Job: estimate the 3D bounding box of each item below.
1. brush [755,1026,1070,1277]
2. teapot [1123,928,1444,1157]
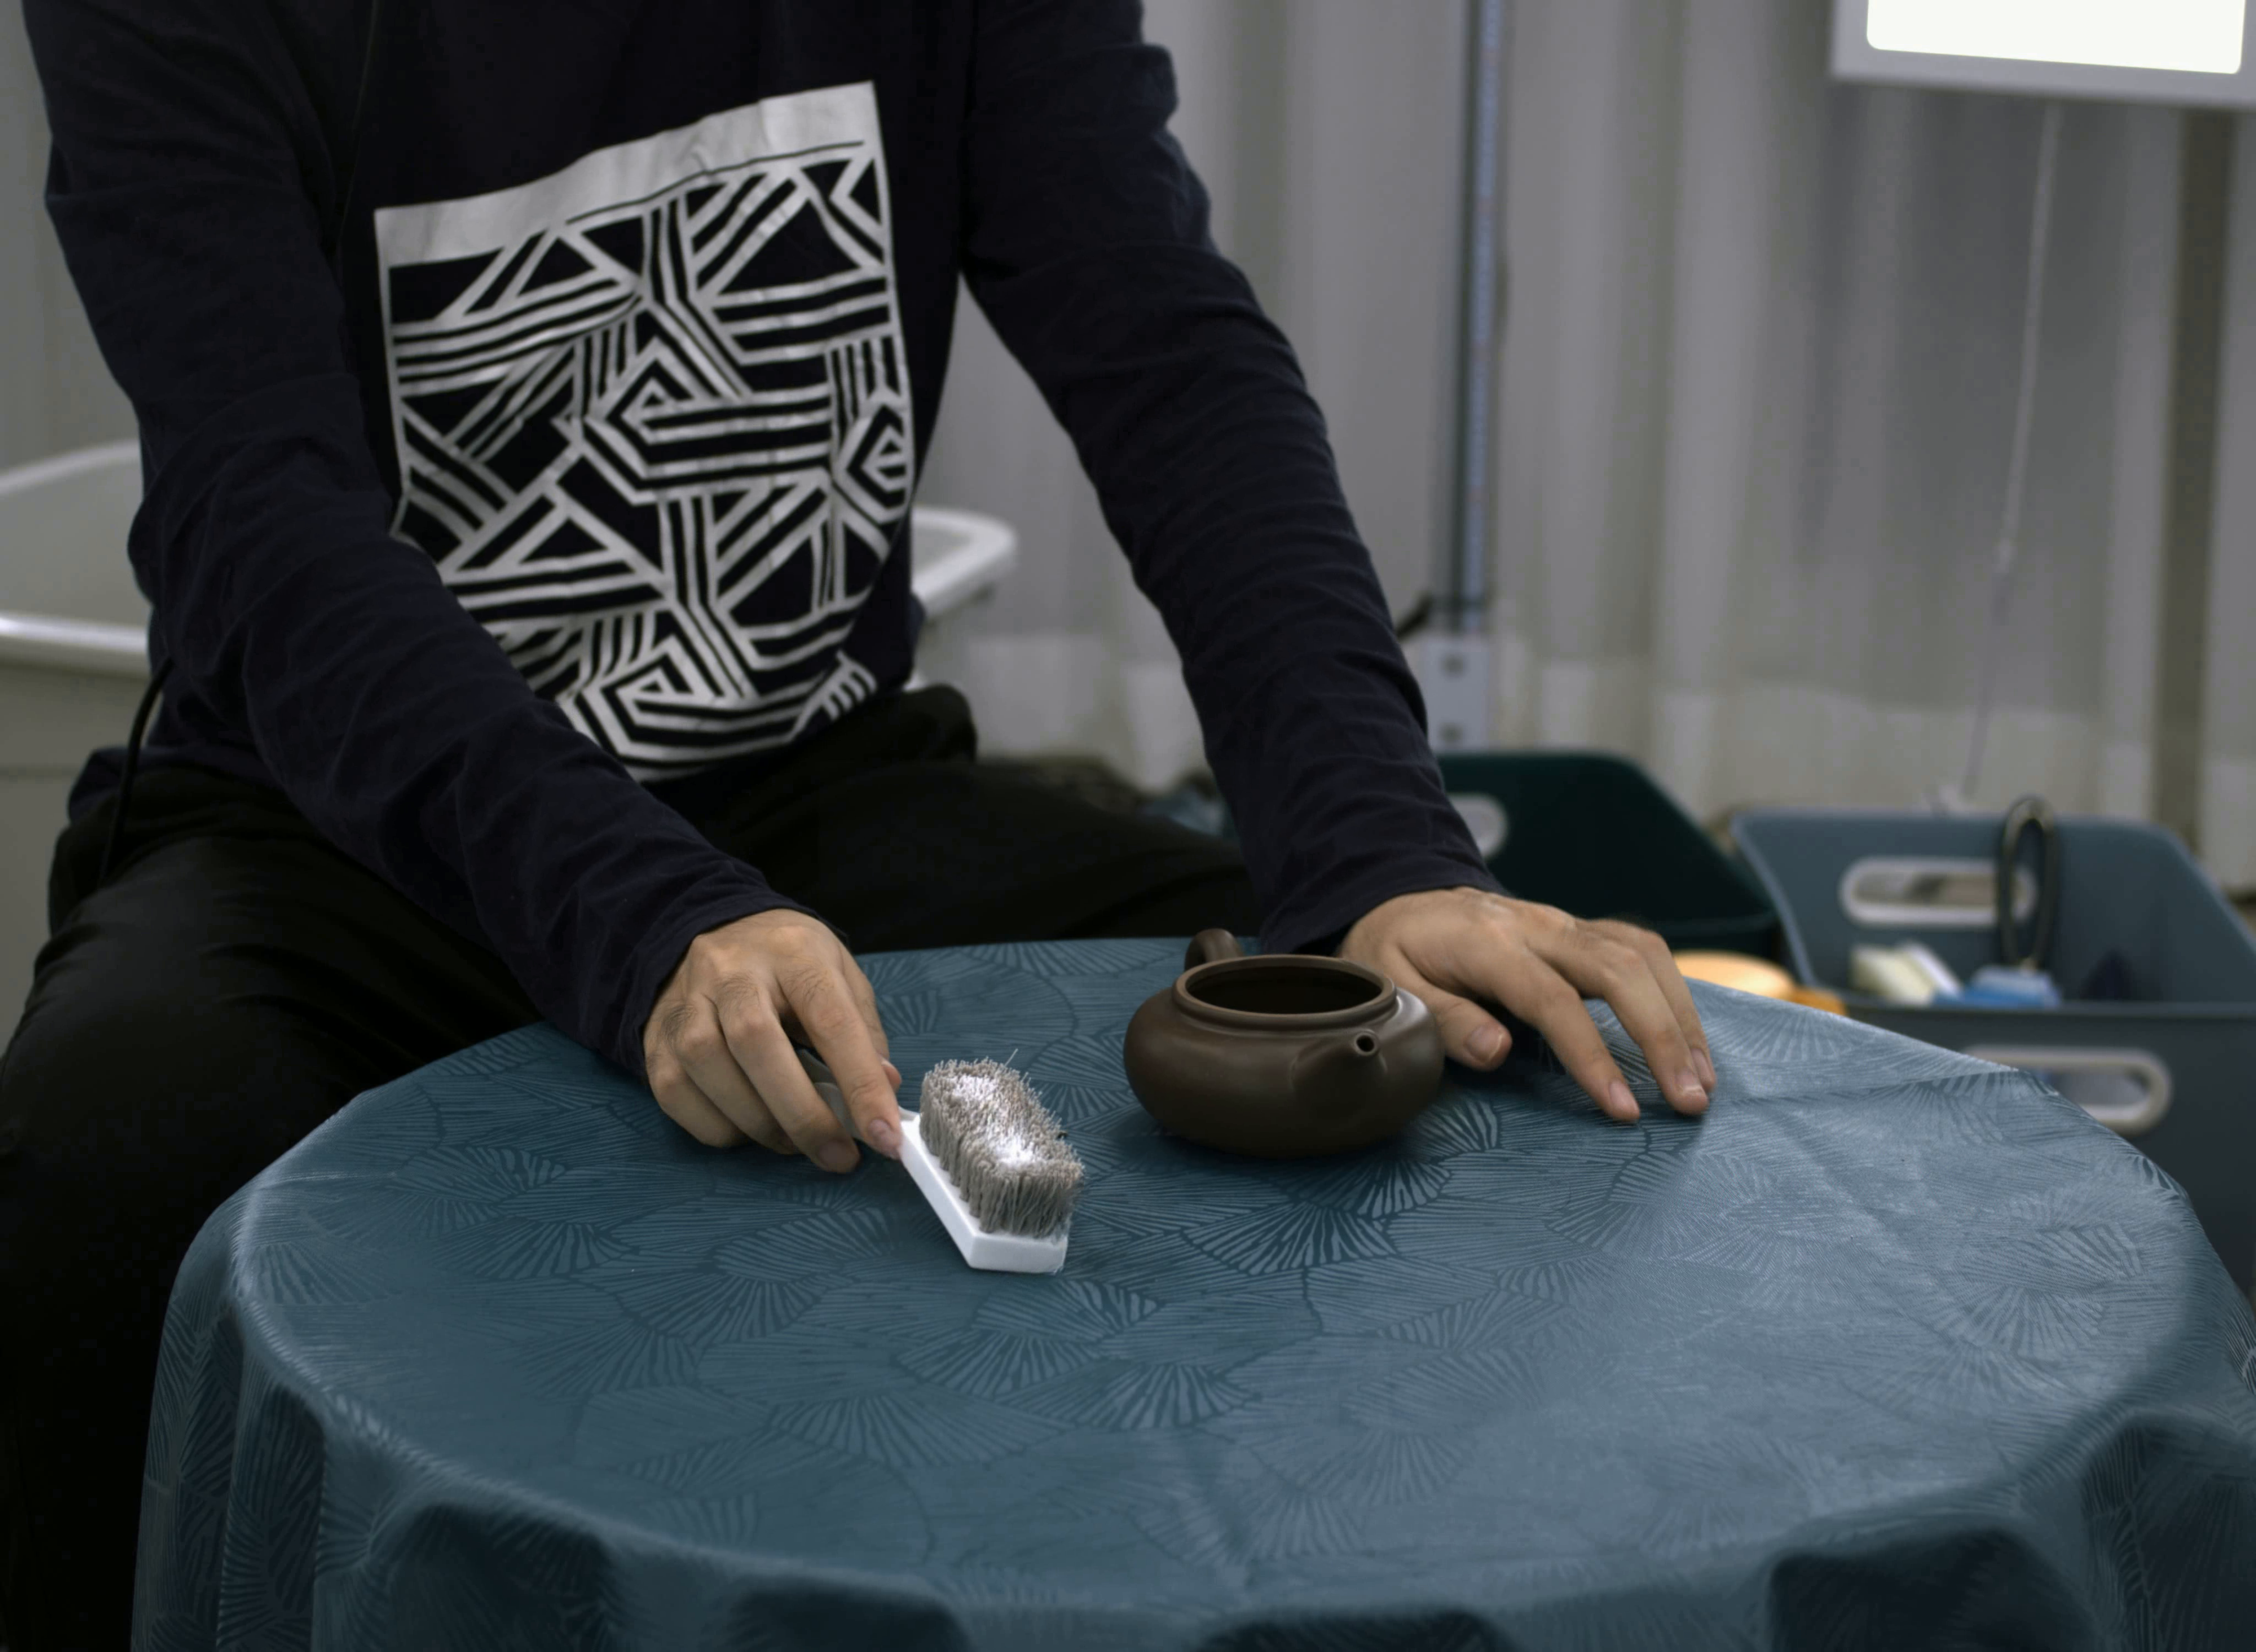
[{"bbox_3d":[-0.073,0.082,1.646,0.034,0.050,0.241,-8,17,-20],"label":"brush"},{"bbox_3d":[0.048,0.070,1.681,0.103,0.054,0.151,-6,17,-25],"label":"teapot"}]
